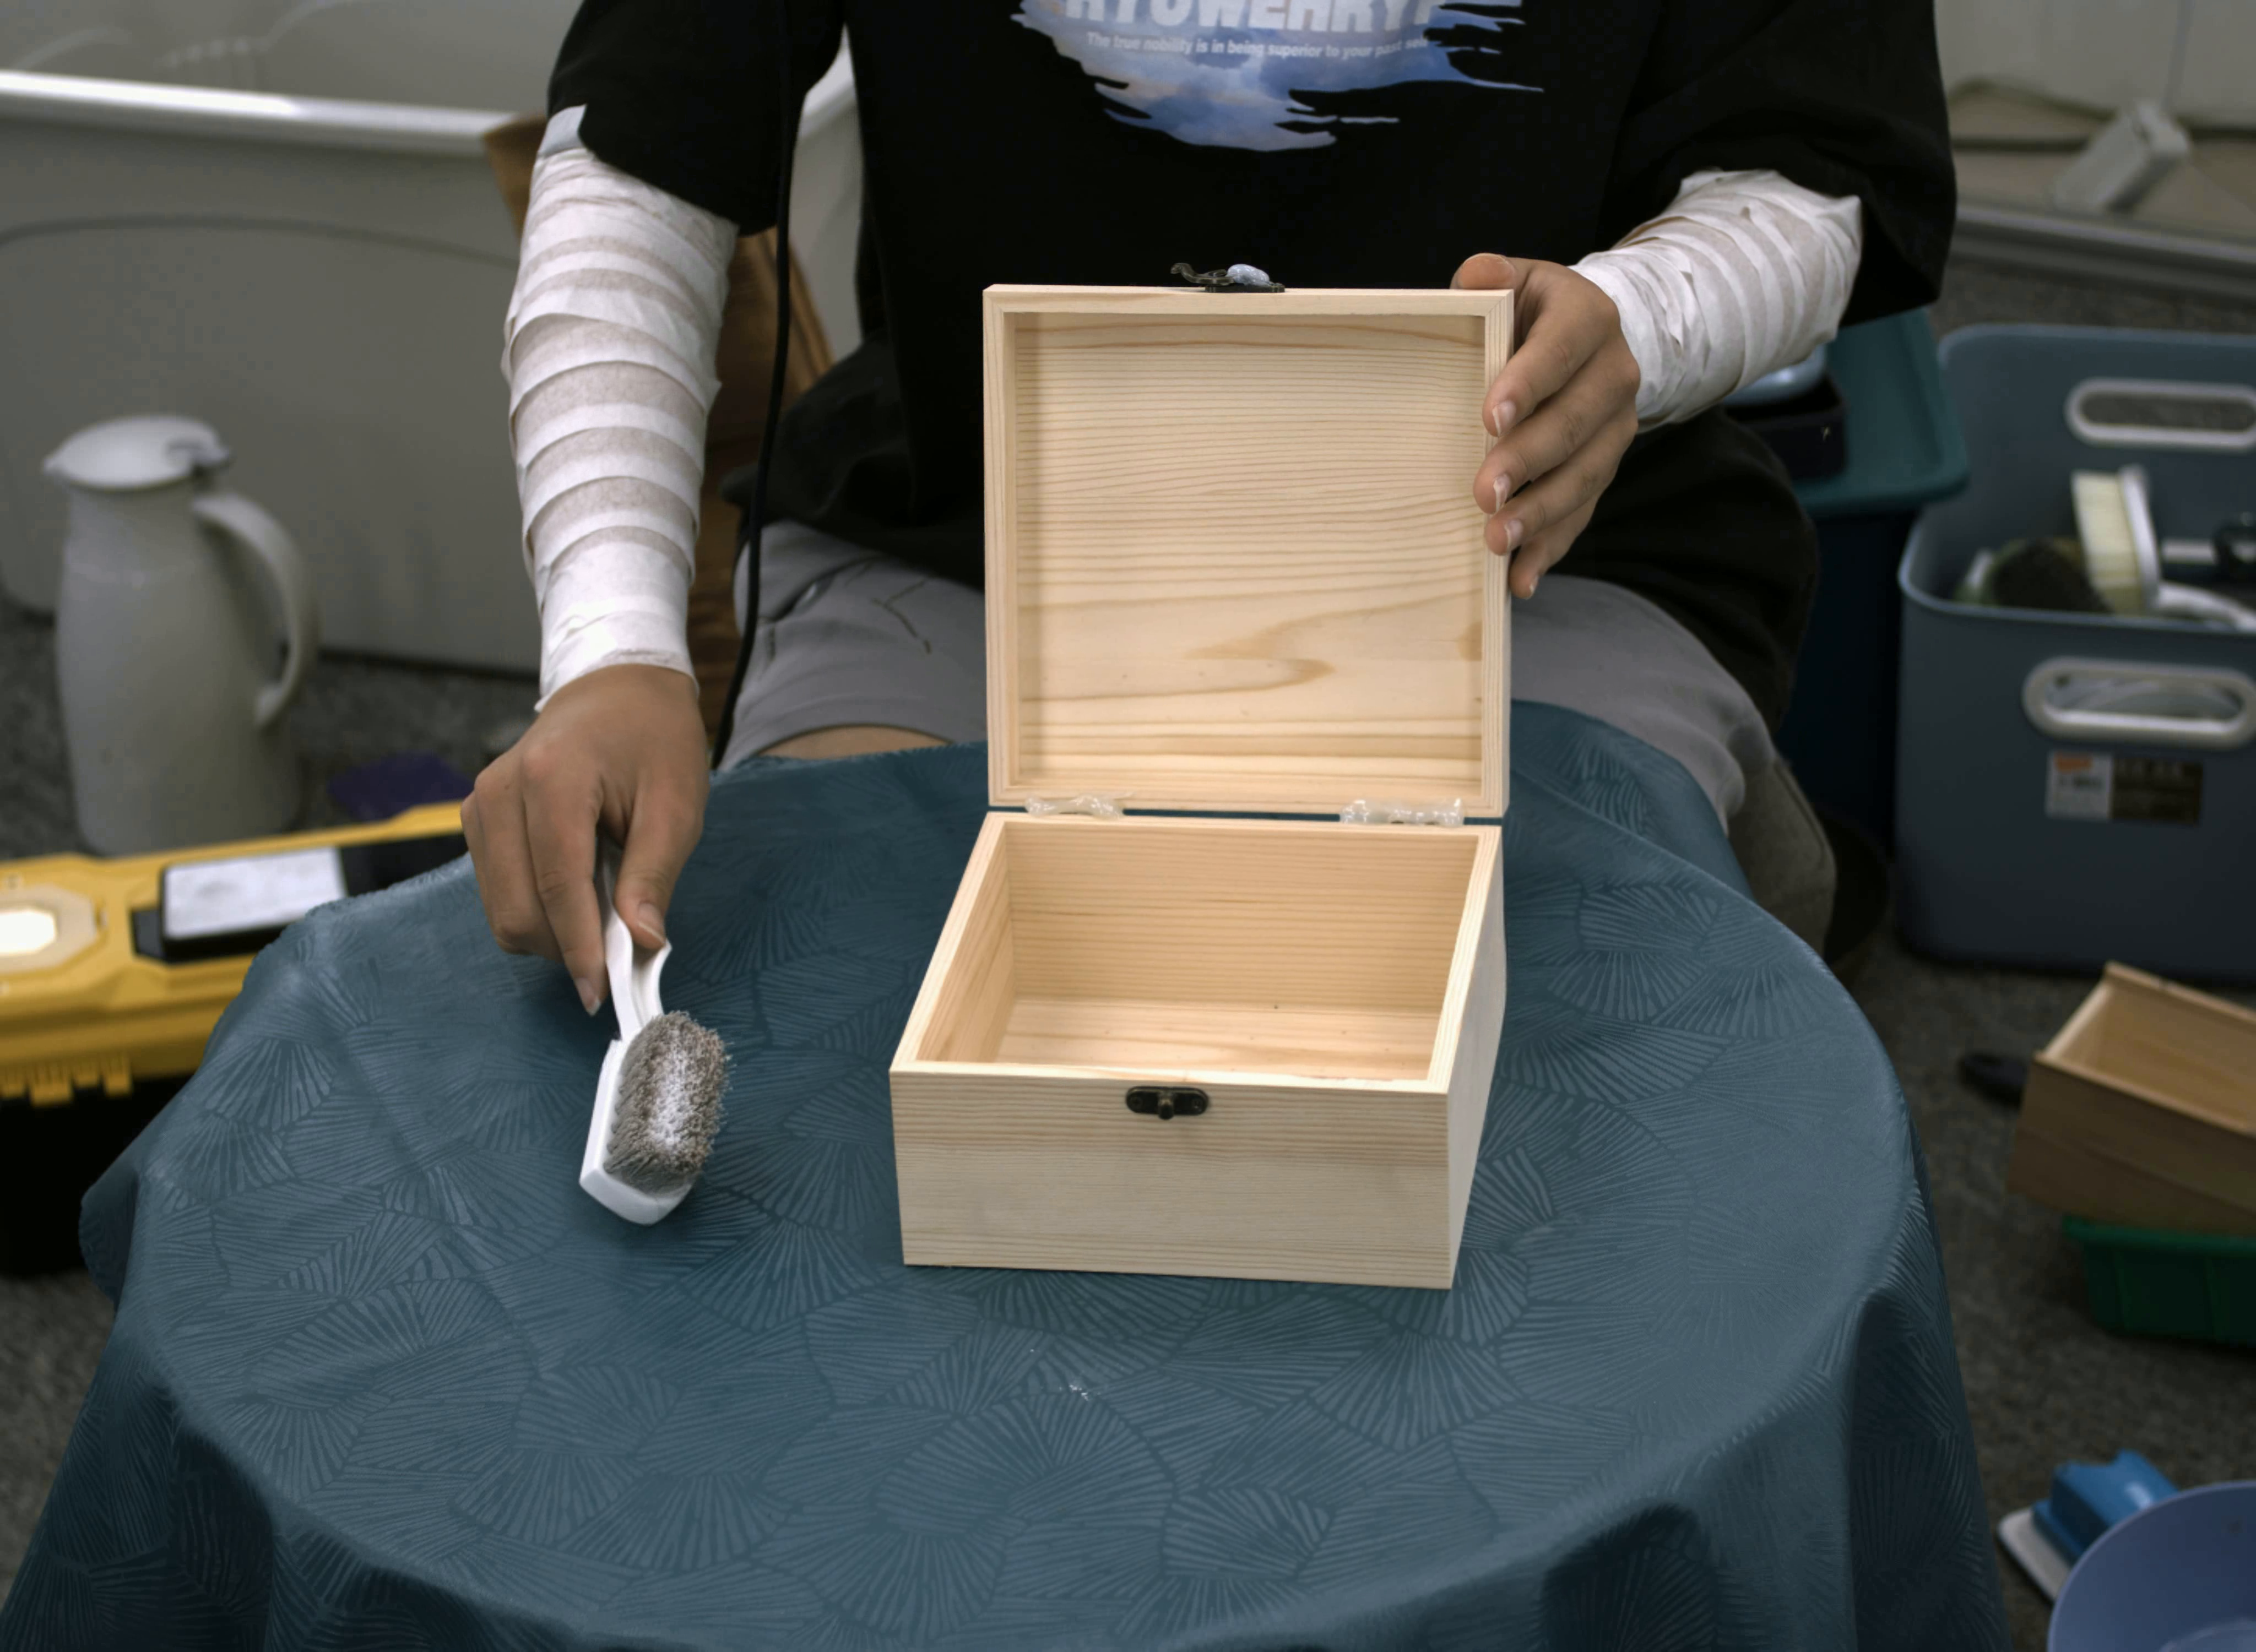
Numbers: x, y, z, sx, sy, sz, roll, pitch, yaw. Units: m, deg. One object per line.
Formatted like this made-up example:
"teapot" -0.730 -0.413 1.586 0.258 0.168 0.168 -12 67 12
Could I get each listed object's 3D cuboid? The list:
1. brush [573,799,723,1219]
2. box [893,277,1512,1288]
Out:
"brush" -0.161 0.048 1.934 0.034 0.049 0.248 28 28 -19
"box" 0.028 -0.021 1.869 0.180 0.251 0.269 0 26 9
